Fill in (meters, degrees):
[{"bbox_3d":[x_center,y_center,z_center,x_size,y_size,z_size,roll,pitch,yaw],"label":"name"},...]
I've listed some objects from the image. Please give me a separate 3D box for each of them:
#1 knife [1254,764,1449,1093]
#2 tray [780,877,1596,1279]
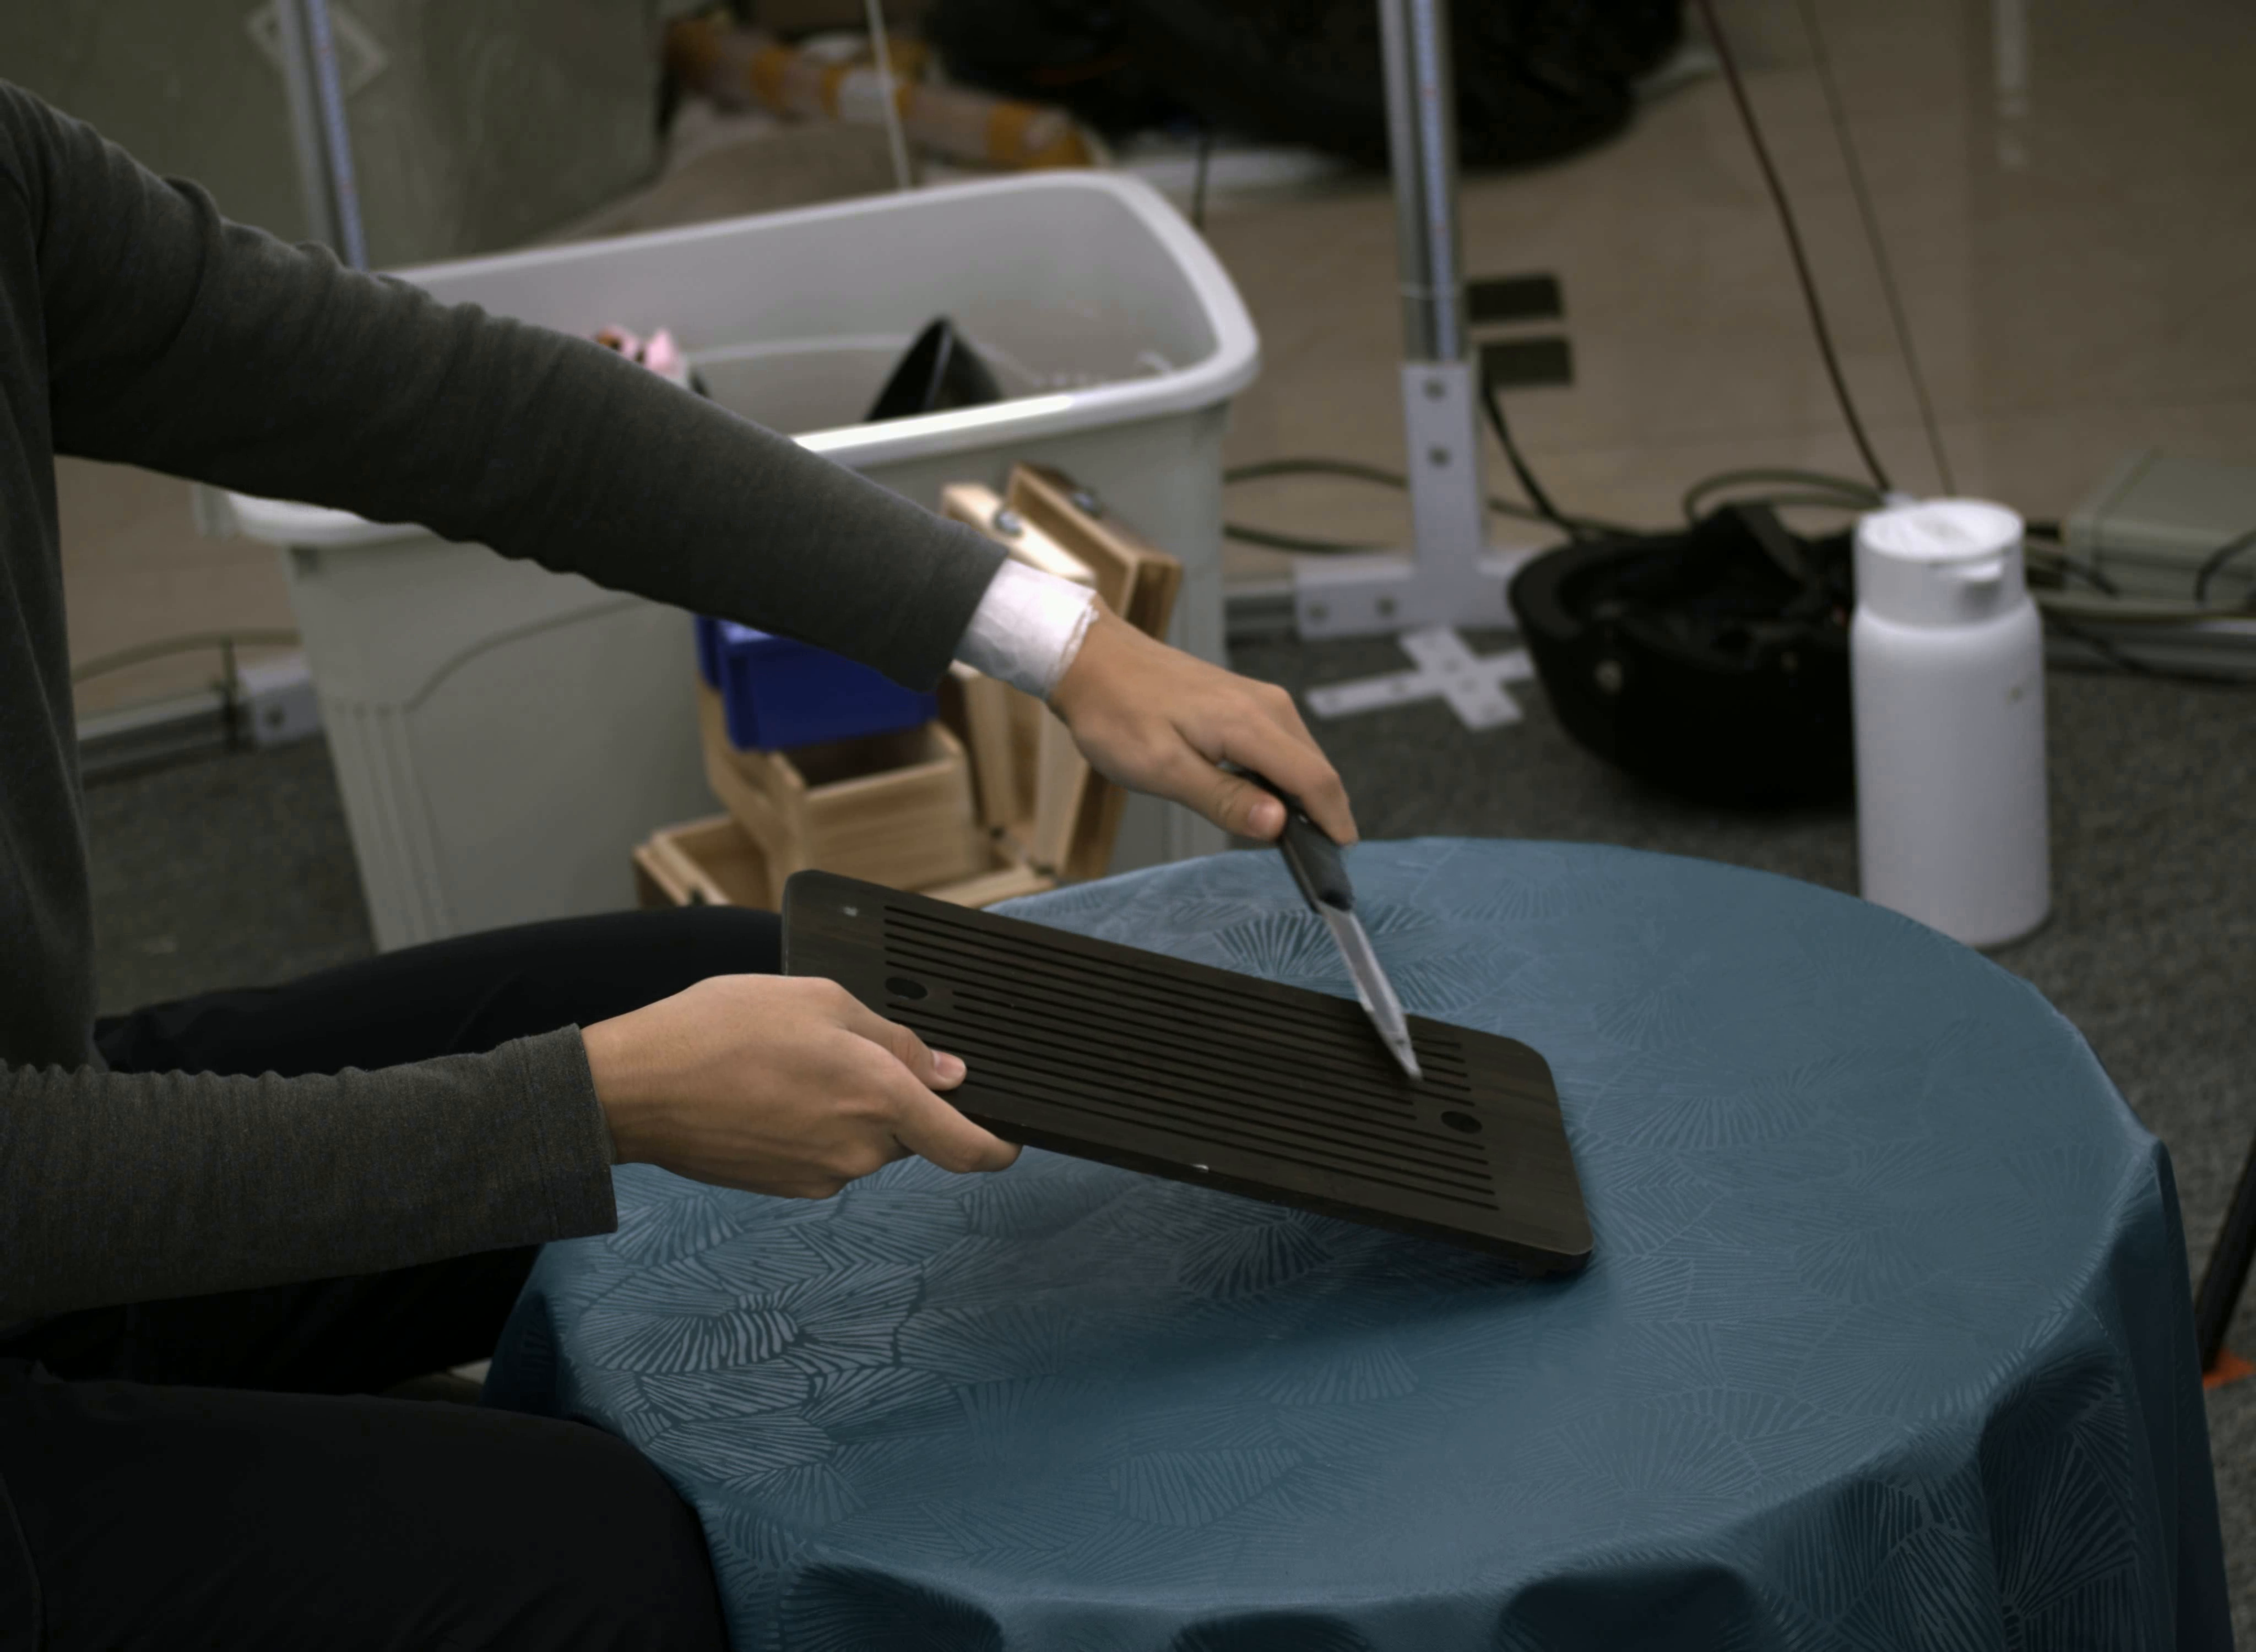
[{"bbox_3d":[0.087,0.038,2.226,0.024,0.016,0.234,26,21,-29],"label":"knife"},{"bbox_3d":[0.019,0.094,2.097,0.306,0.019,0.167,14,24,-10],"label":"tray"}]
